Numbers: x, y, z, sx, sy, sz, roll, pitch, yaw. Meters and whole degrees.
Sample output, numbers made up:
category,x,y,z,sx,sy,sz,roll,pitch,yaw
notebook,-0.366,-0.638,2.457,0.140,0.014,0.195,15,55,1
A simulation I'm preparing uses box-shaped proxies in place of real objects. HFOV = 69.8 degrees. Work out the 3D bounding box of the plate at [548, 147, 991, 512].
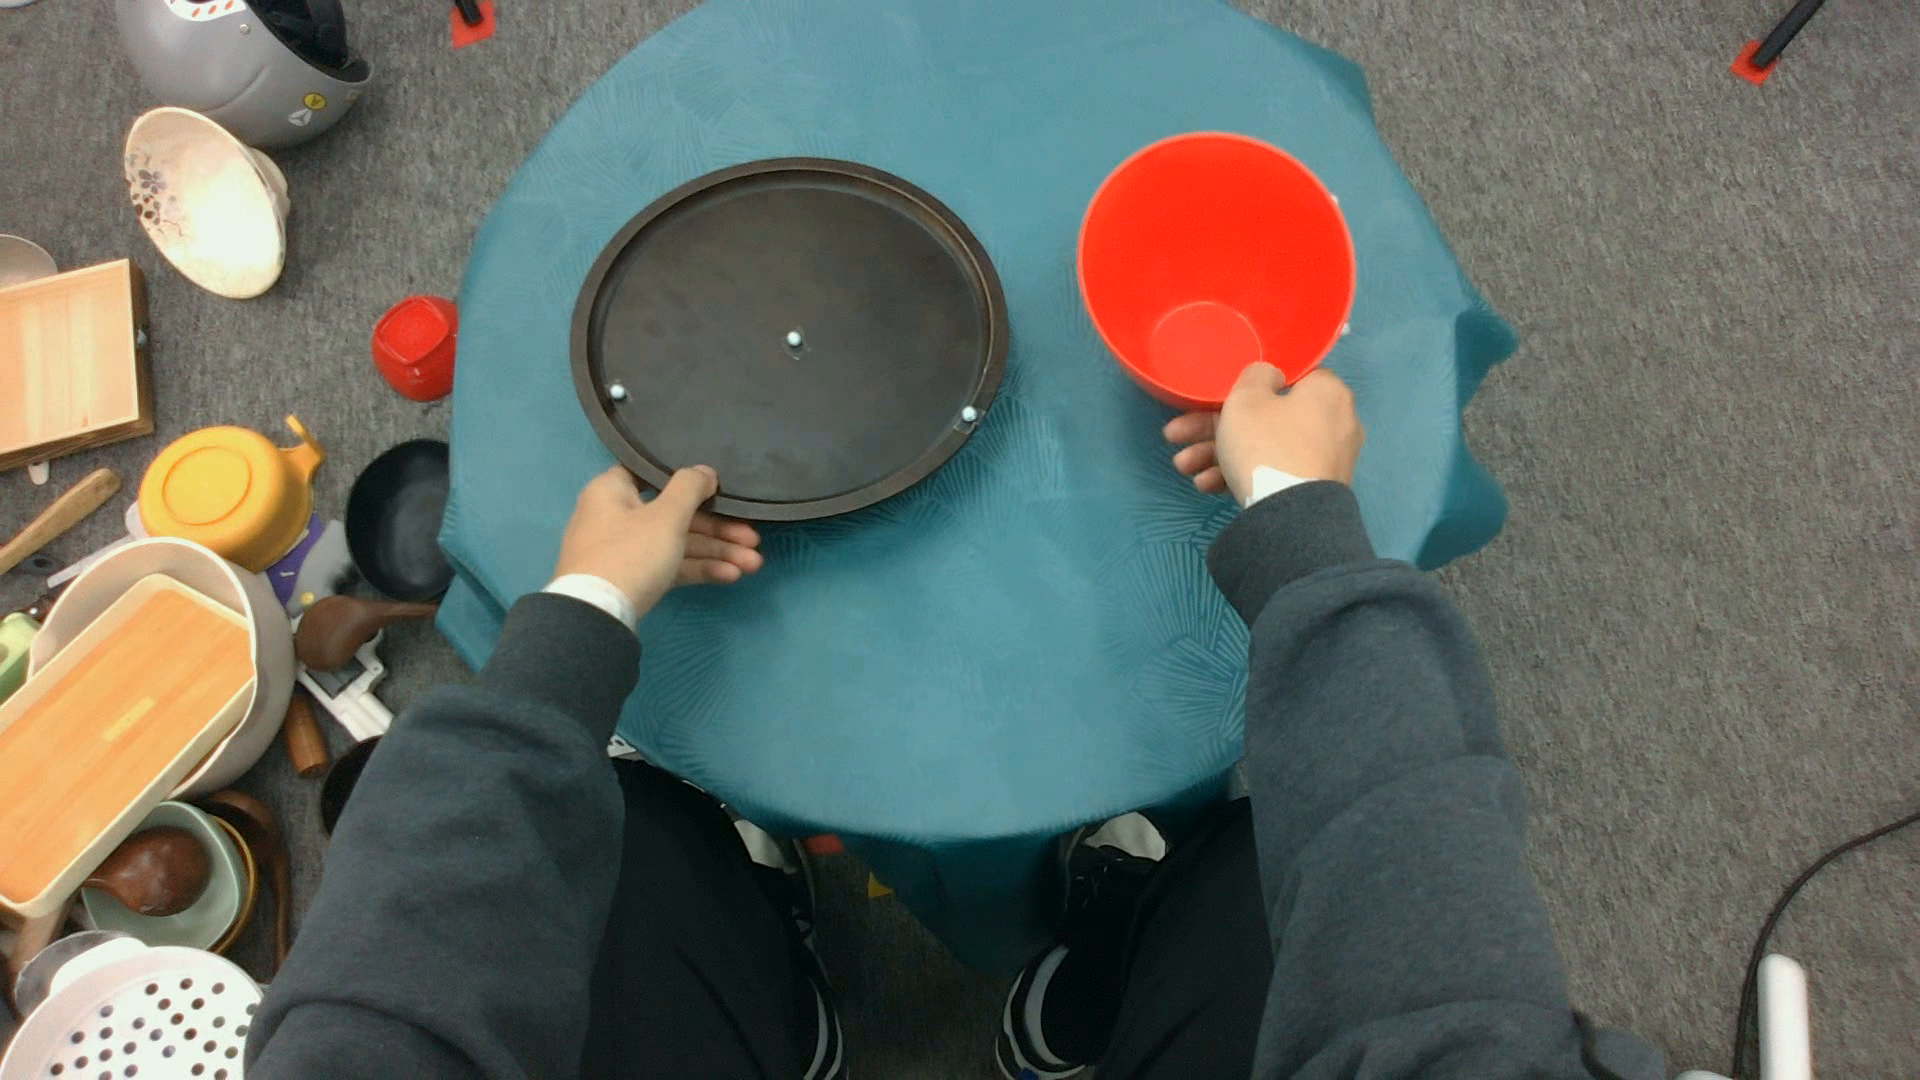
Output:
category,x,y,z,sx,sy,sz,roll,pitch,yaw
plate,-0.109,-0.127,0.798,0.255,0.029,0.255,1,63,-2

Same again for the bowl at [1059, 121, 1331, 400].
category,x,y,z,sx,sy,sz,roll,pitch,yaw
bowl,0.126,-0.142,0.771,0.148,0.104,0.148,0,71,0
